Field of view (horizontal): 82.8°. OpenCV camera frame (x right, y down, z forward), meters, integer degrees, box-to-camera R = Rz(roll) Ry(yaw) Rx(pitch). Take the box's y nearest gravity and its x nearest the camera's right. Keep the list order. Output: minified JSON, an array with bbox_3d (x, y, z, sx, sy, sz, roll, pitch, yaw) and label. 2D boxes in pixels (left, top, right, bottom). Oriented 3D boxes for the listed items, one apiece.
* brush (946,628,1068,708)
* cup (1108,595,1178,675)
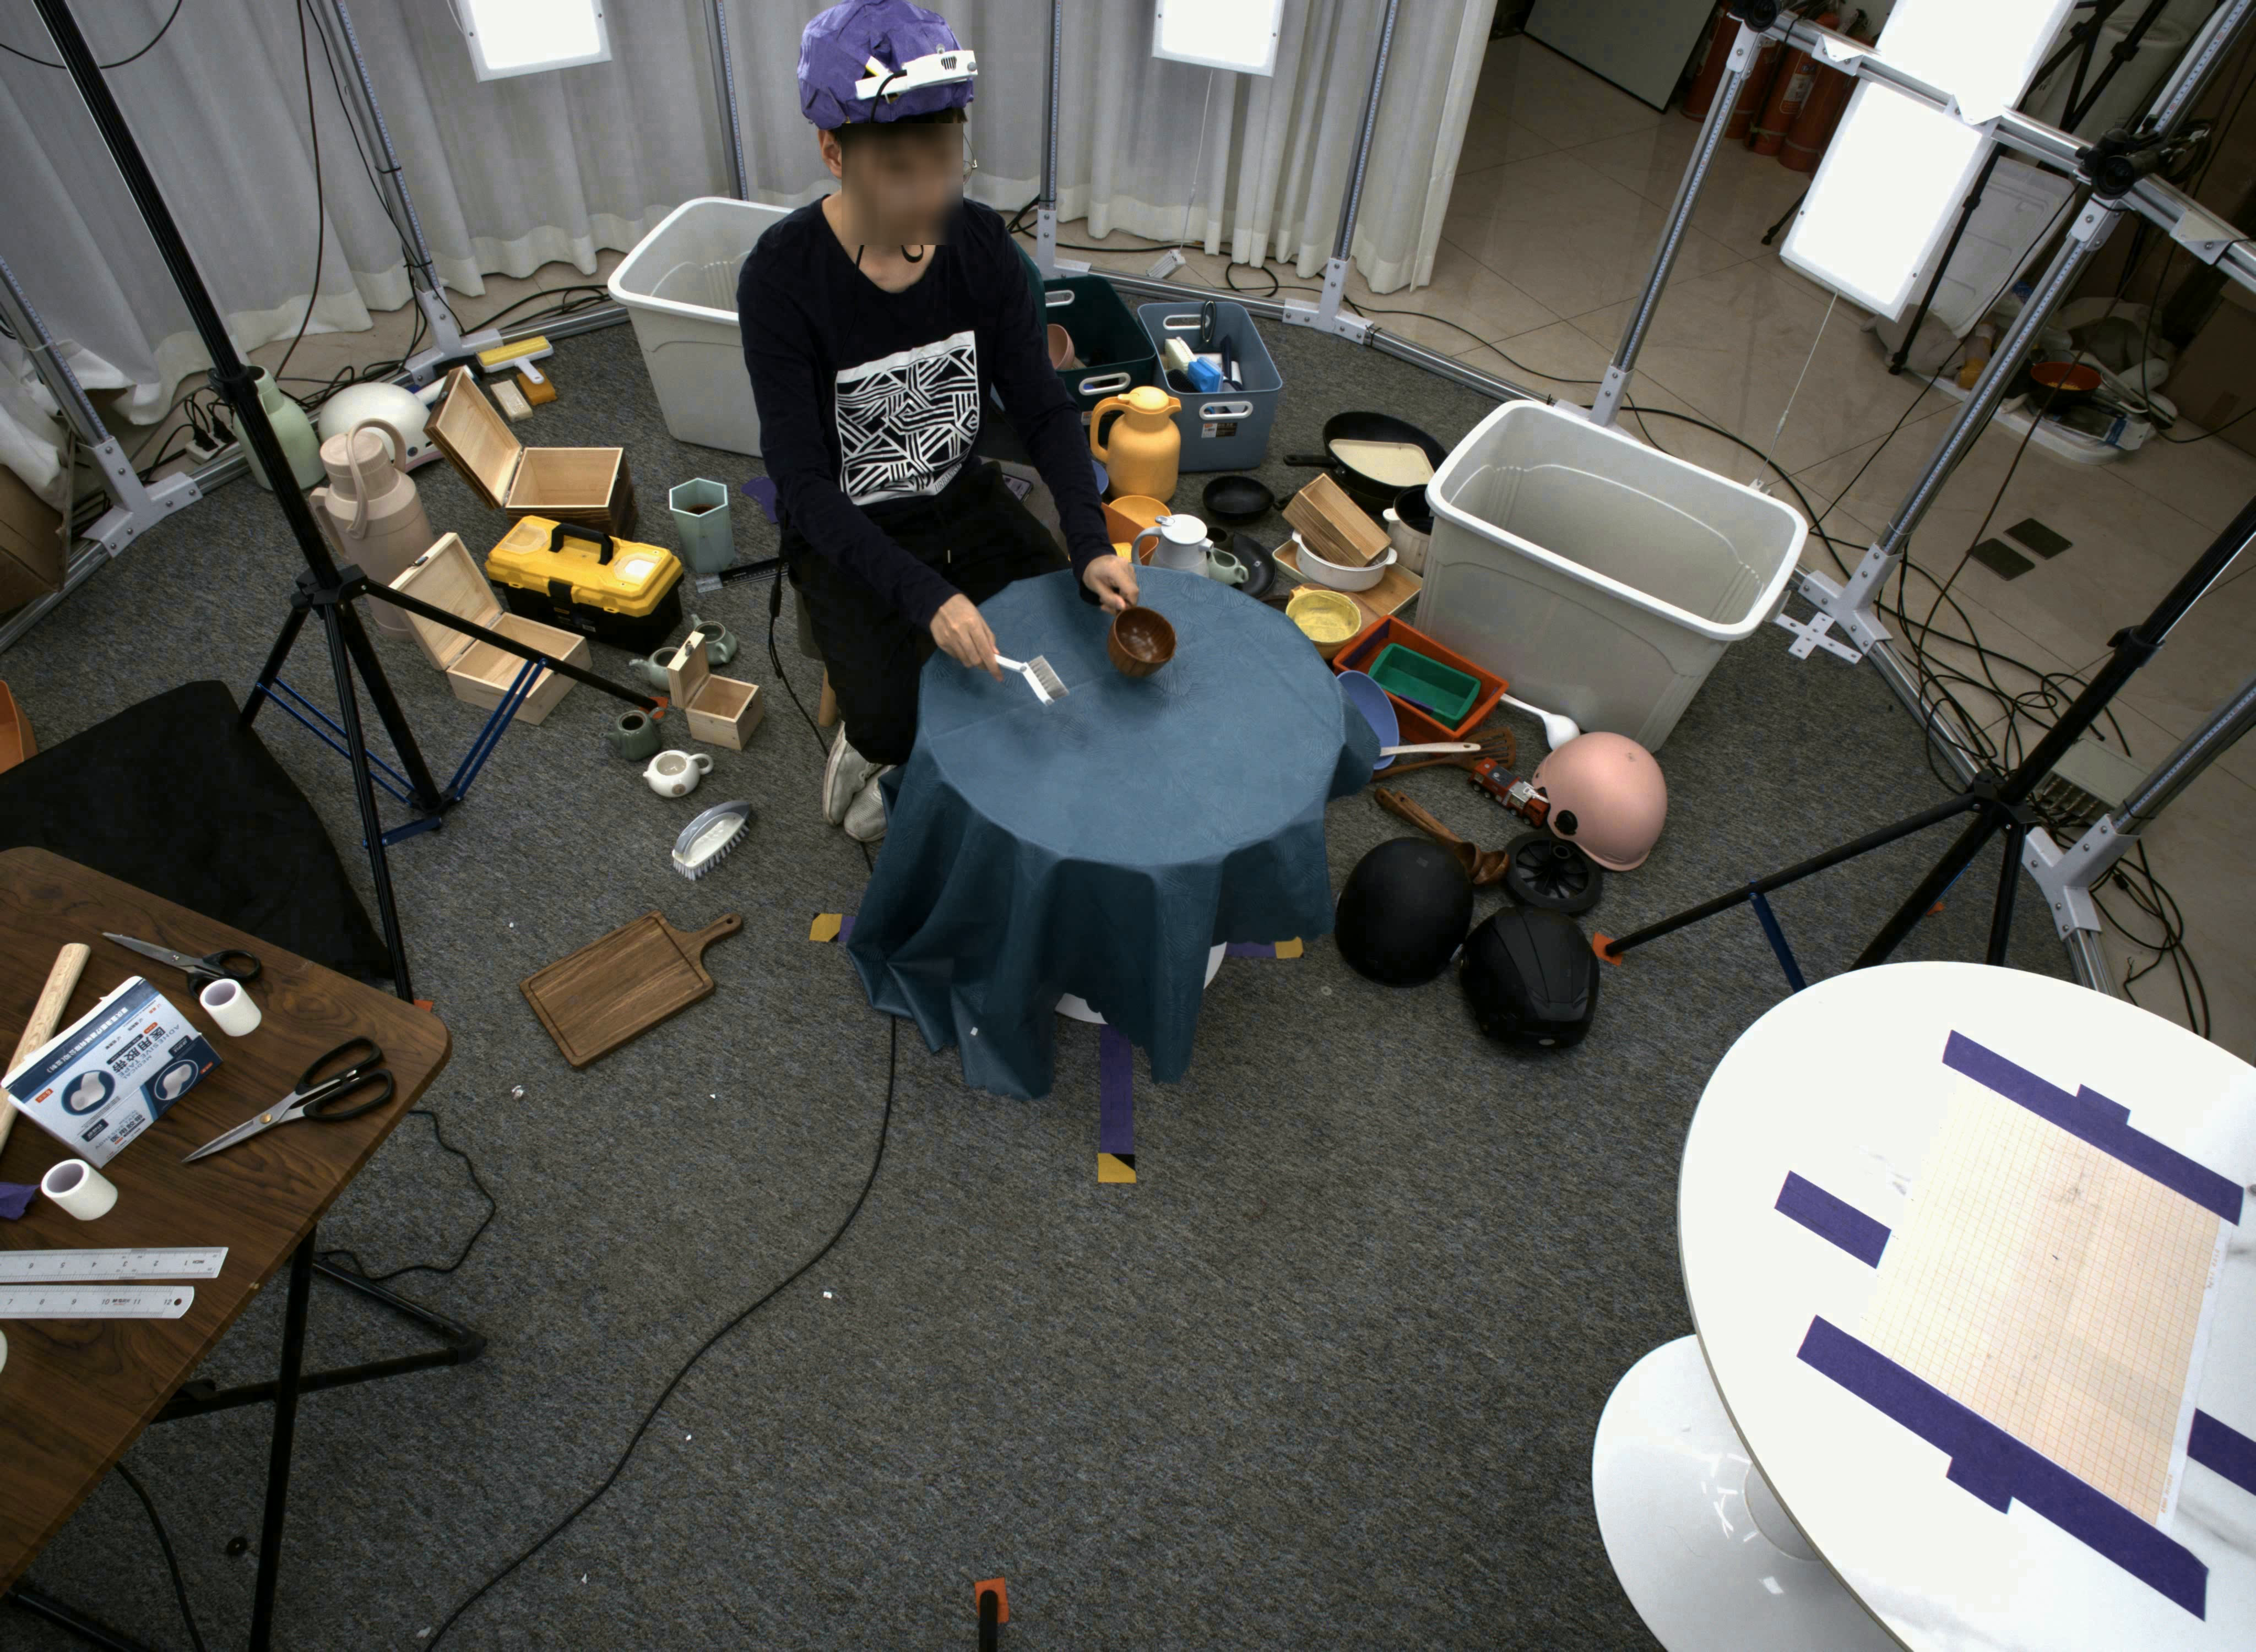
[{"bbox_3d":[-0.169,-0.236,1.784,0.050,0.034,0.248,-51,52,-2],"label":"brush"},{"bbox_3d":[0.011,-0.270,1.825,0.096,0.067,0.121,-15,71,-28],"label":"cup"}]
